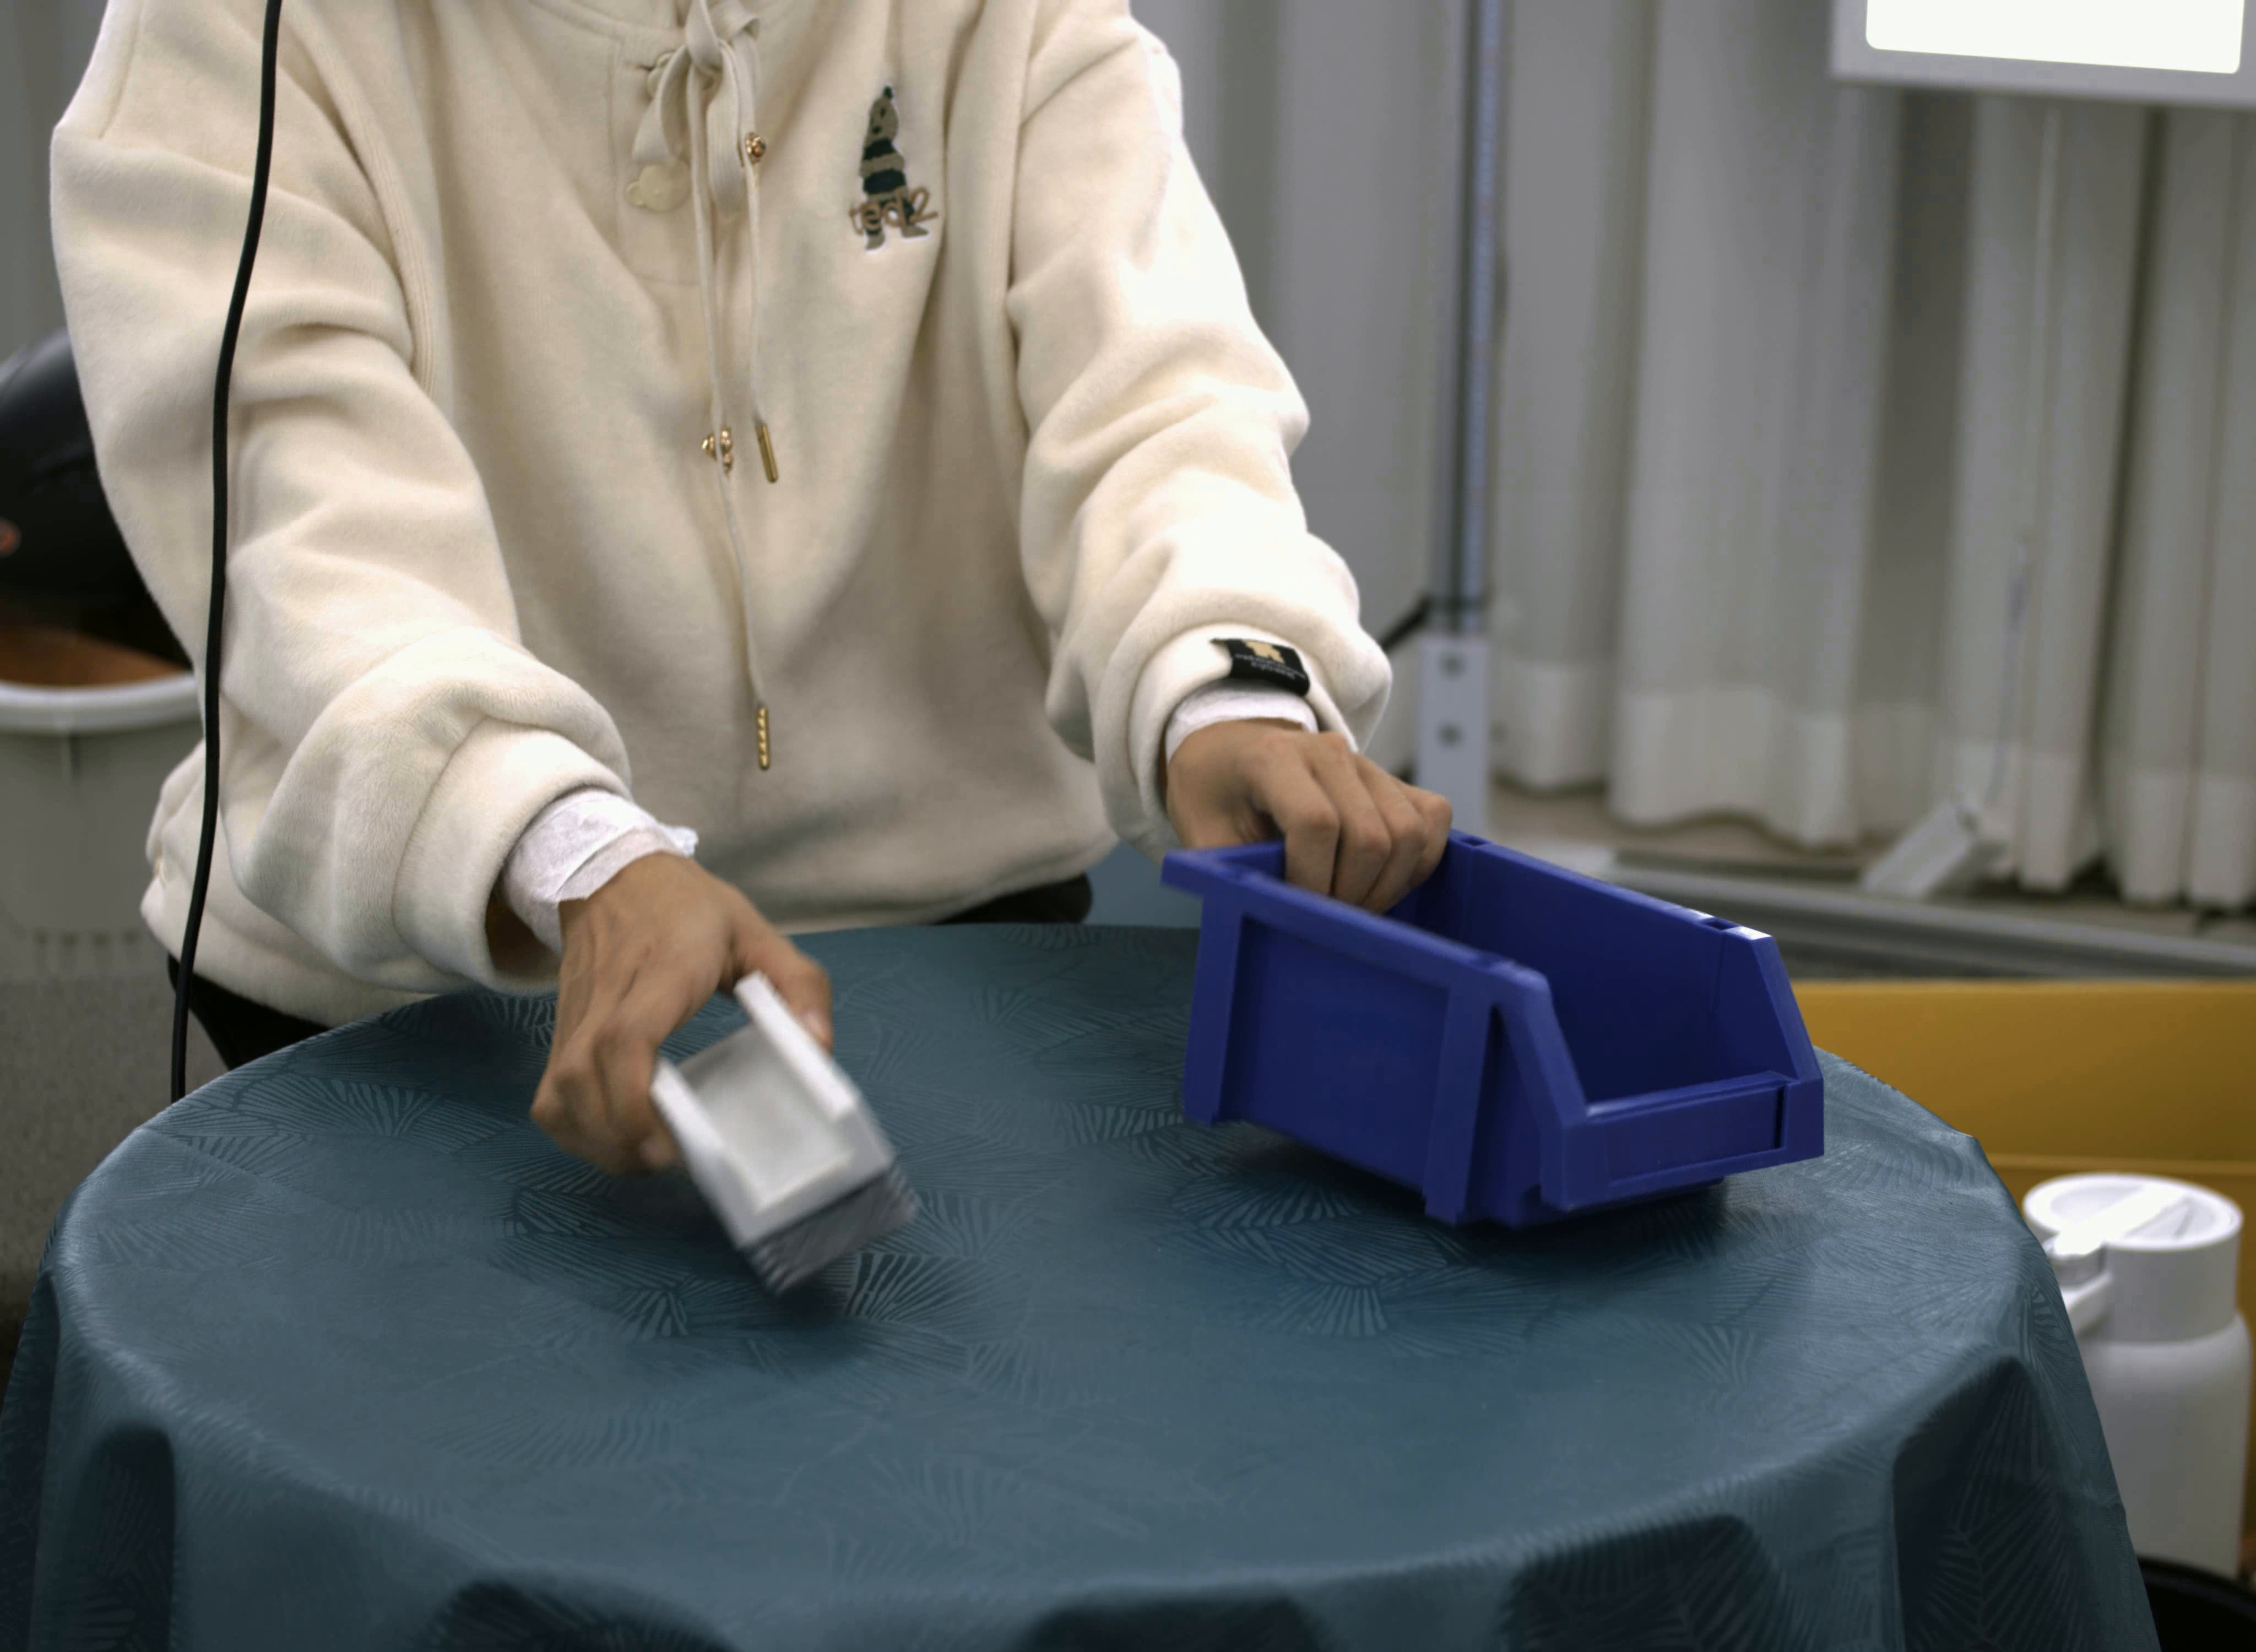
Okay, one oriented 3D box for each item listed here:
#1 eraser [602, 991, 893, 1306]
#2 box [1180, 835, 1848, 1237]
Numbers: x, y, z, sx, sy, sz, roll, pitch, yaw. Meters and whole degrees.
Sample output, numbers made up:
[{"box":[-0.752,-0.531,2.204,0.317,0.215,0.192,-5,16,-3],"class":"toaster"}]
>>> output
[{"box":[-0.111,0.093,1.546,0.050,0.047,0.133,-29,22,-10],"class":"eraser"},{"box":[0.118,0.066,1.617,0.125,0.082,0.177,-8,17,-42],"class":"box"}]
